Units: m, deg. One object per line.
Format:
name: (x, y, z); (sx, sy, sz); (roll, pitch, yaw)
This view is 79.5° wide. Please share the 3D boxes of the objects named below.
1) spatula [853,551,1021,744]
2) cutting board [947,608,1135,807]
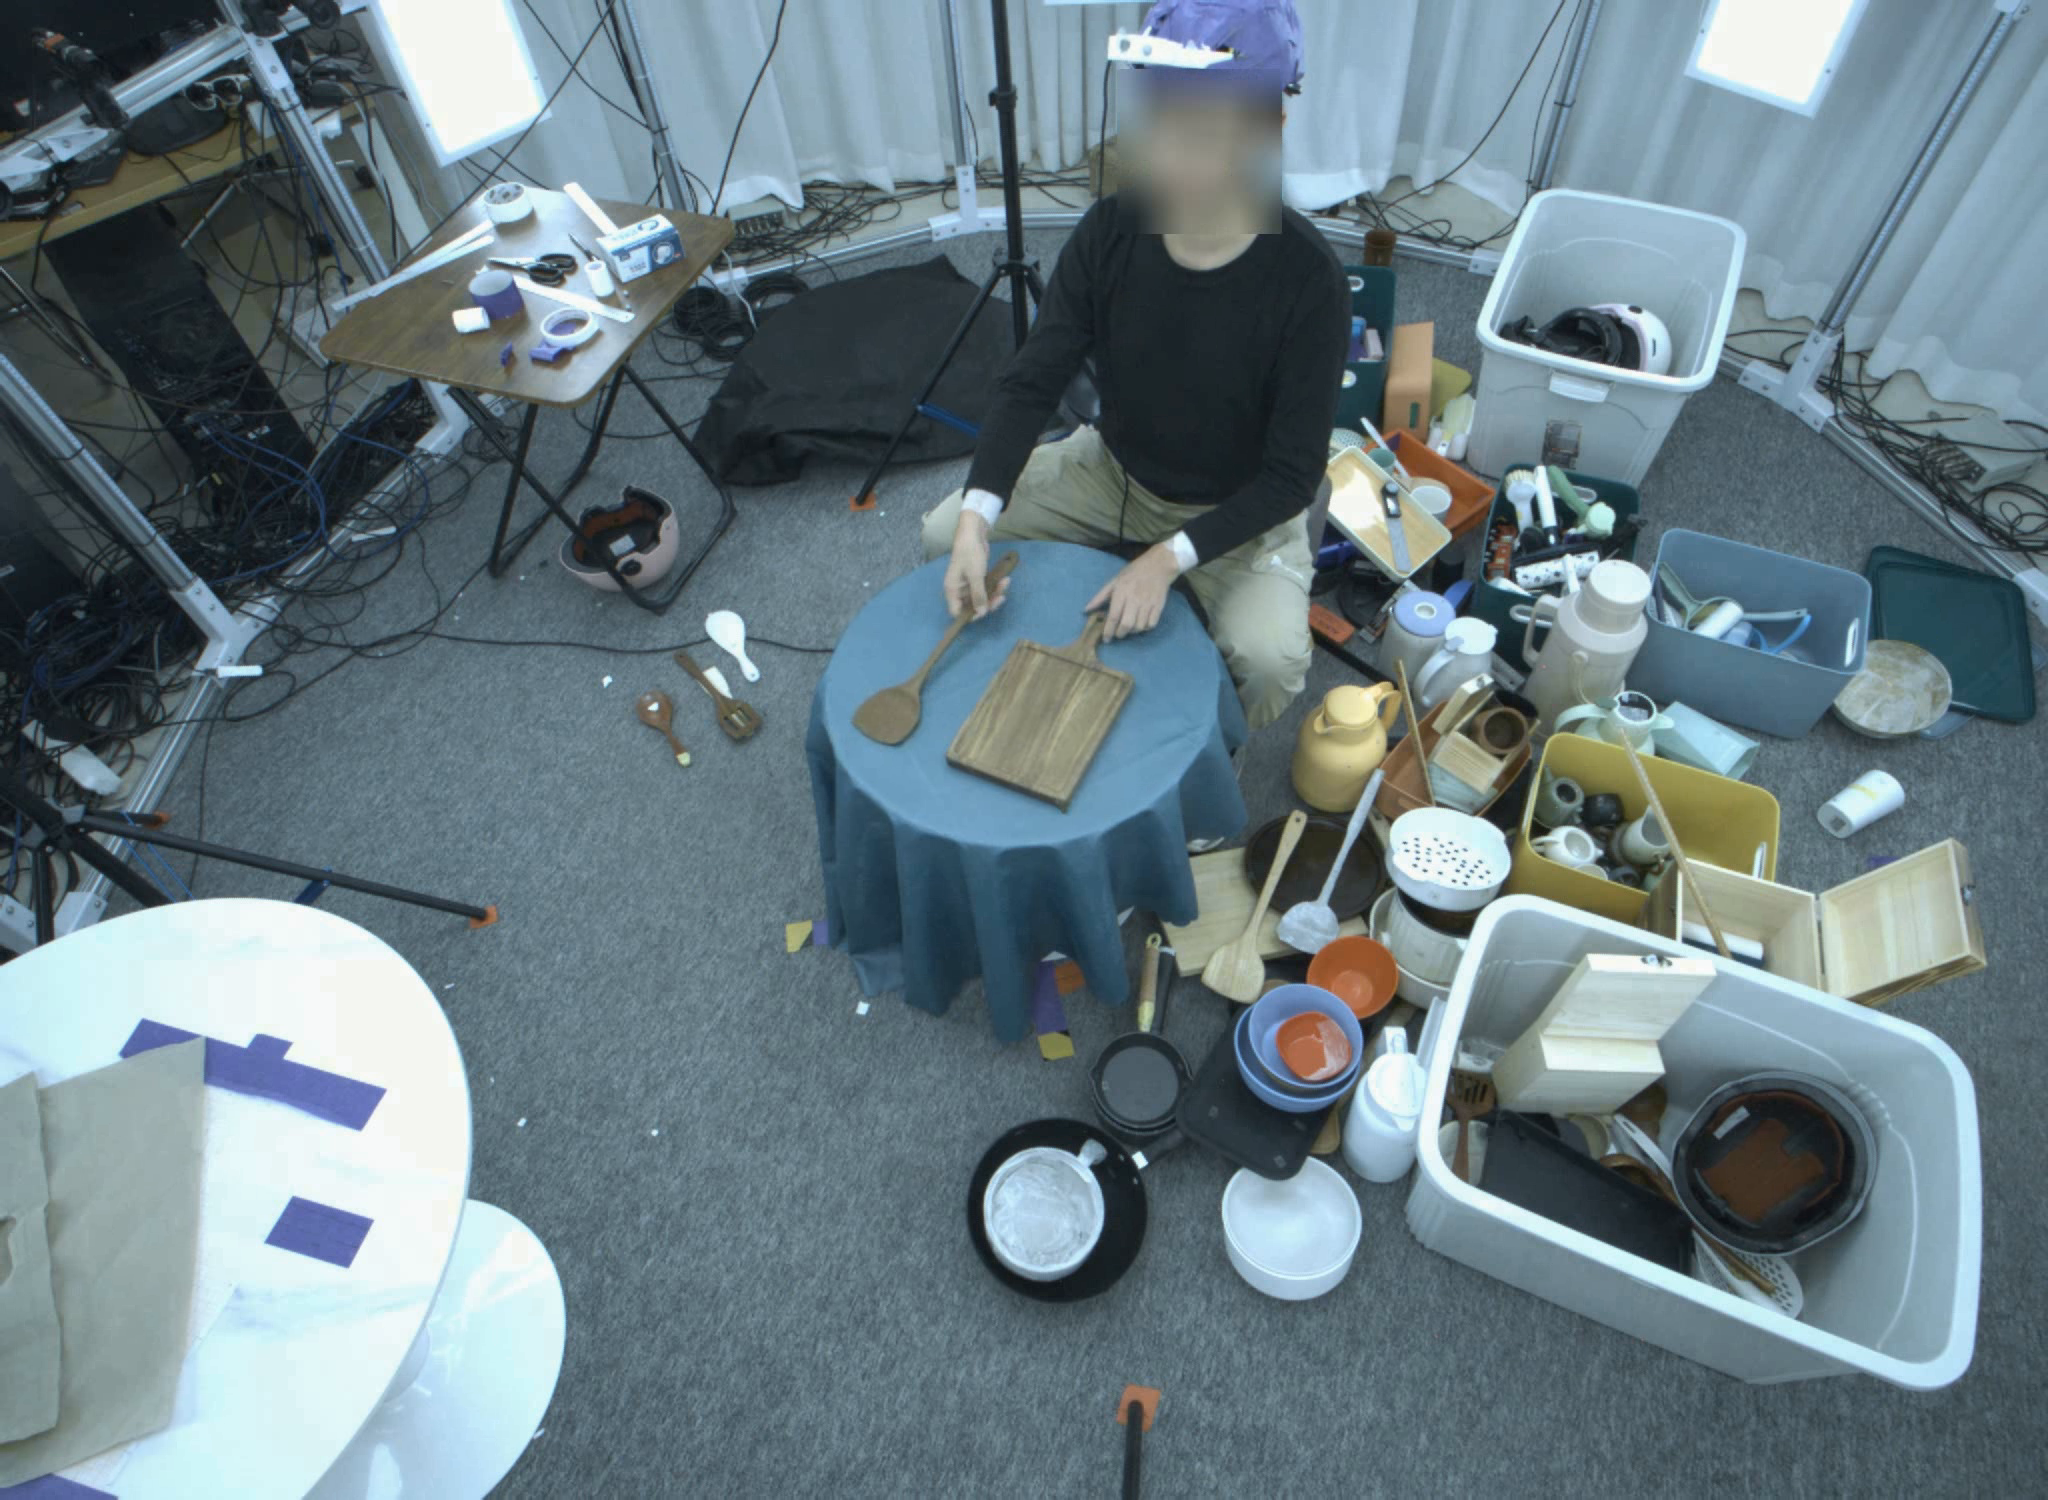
spatula: (-0.119, -0.166, 1.871); (0.094, 0.016, 0.387); (29, 70, 21)
cutting board: (0.049, -0.083, 1.832); (0.199, 0.023, 0.352); (21, 58, 15)
